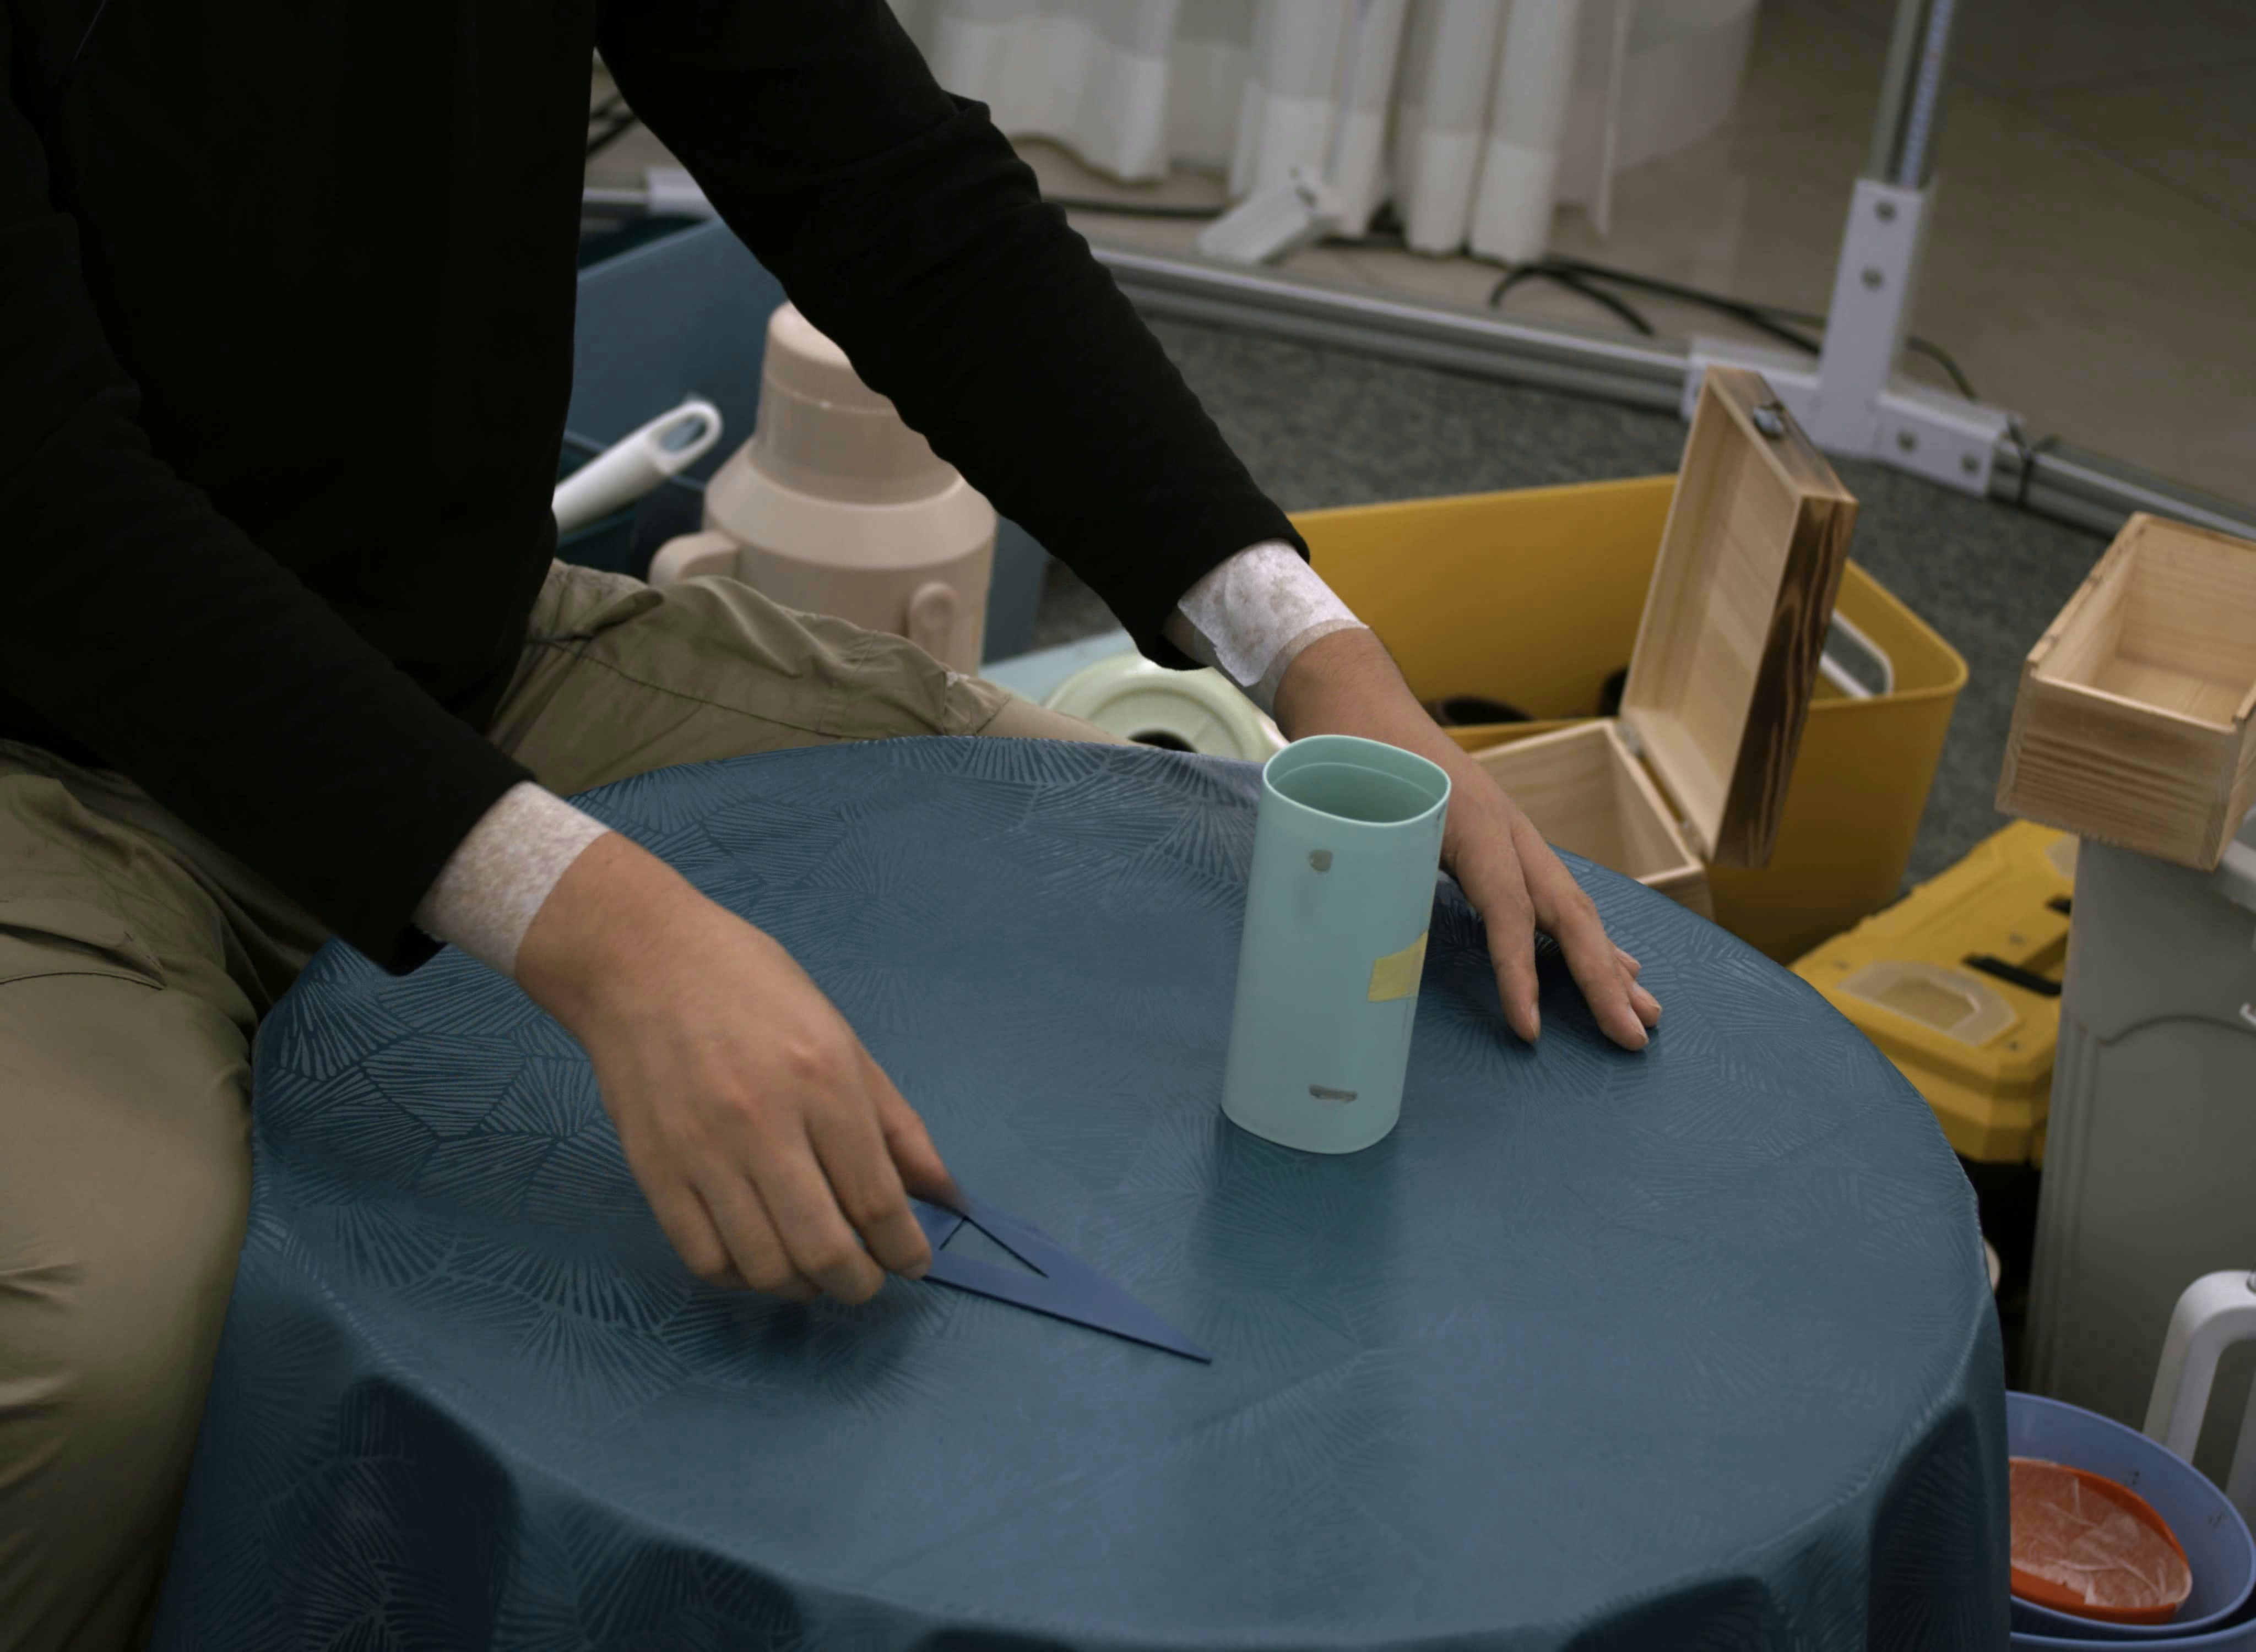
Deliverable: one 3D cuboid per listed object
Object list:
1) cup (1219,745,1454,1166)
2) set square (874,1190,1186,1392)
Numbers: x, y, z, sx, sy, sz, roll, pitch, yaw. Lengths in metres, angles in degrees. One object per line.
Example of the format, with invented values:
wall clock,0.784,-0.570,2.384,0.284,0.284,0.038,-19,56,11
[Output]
cup,0.070,0.044,1.838,0.066,0.132,0.067,6,27,-3
set square,-0.038,0.153,1.727,0.061,0.006,0.133,-9,30,-35
